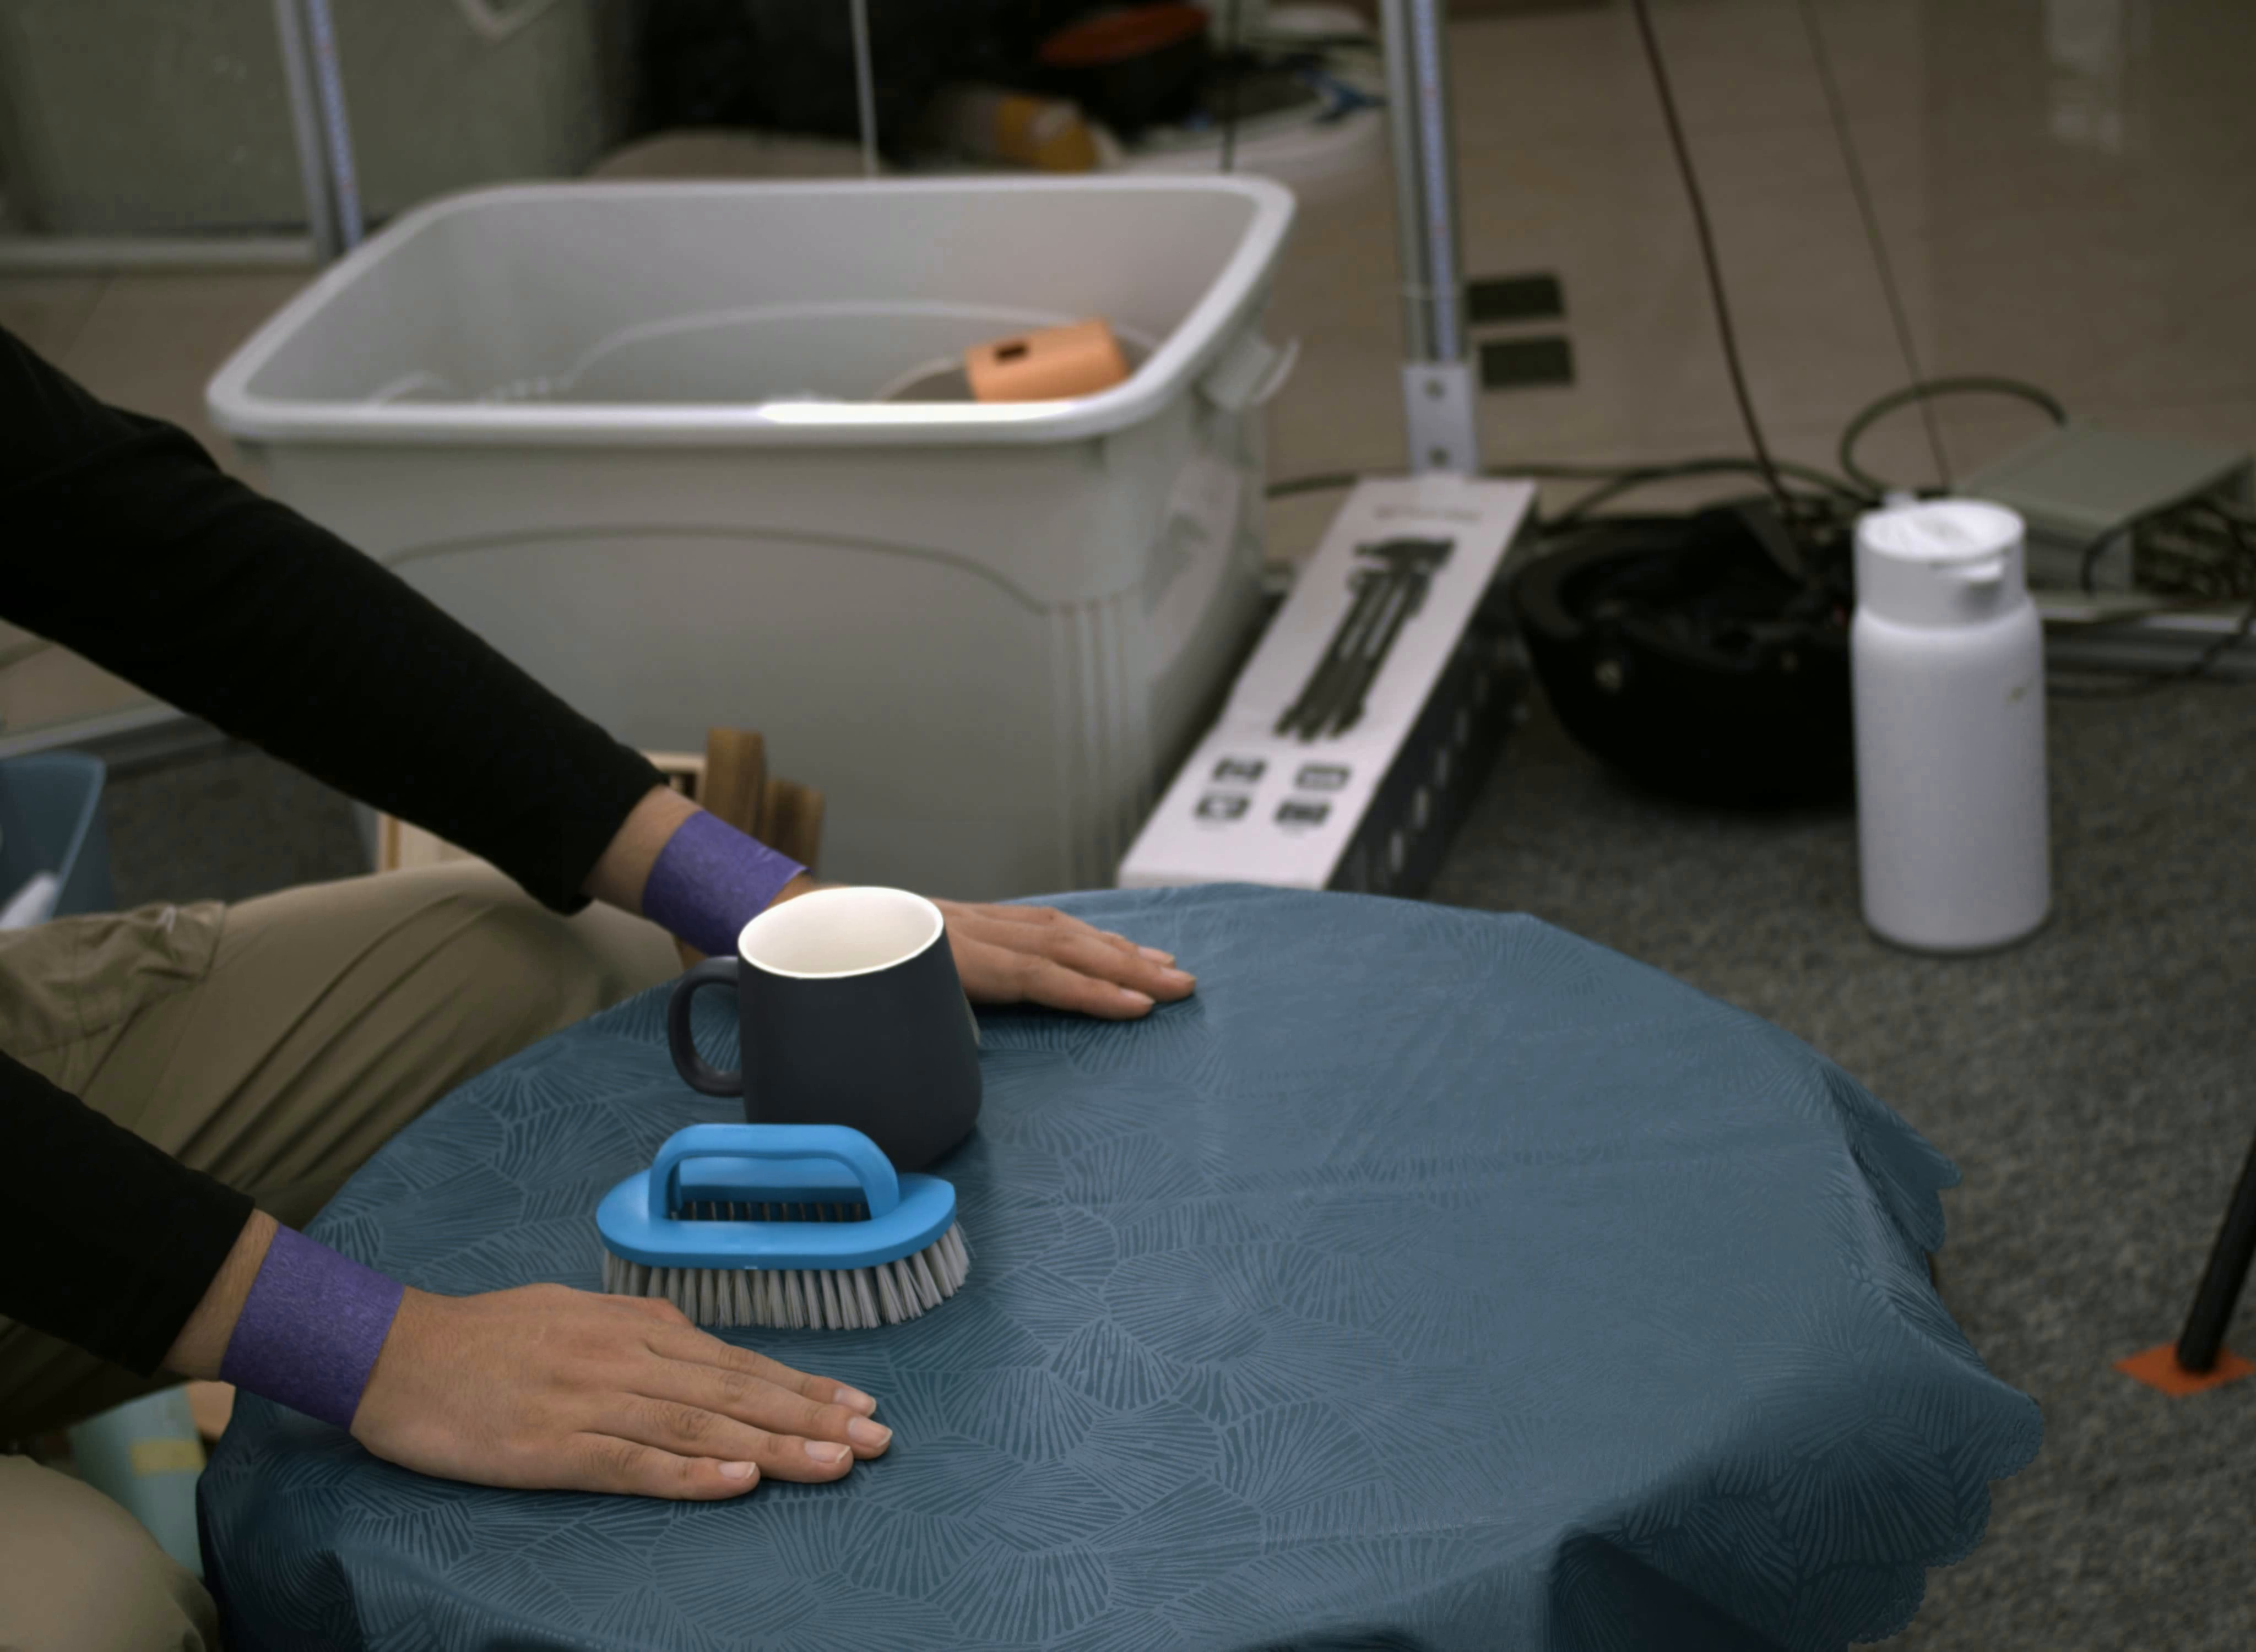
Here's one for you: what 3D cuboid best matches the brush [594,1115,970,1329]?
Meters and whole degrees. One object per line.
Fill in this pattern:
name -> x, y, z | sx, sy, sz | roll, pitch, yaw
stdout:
brush -> -0.132, 0.138, 2.103 | 0.141, 0.065, 0.083 | 0, 31, 15

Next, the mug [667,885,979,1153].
mug -> -0.120, 0.078, 2.194 | 0.123, 0.091, 0.092 | 4, 27, 18
